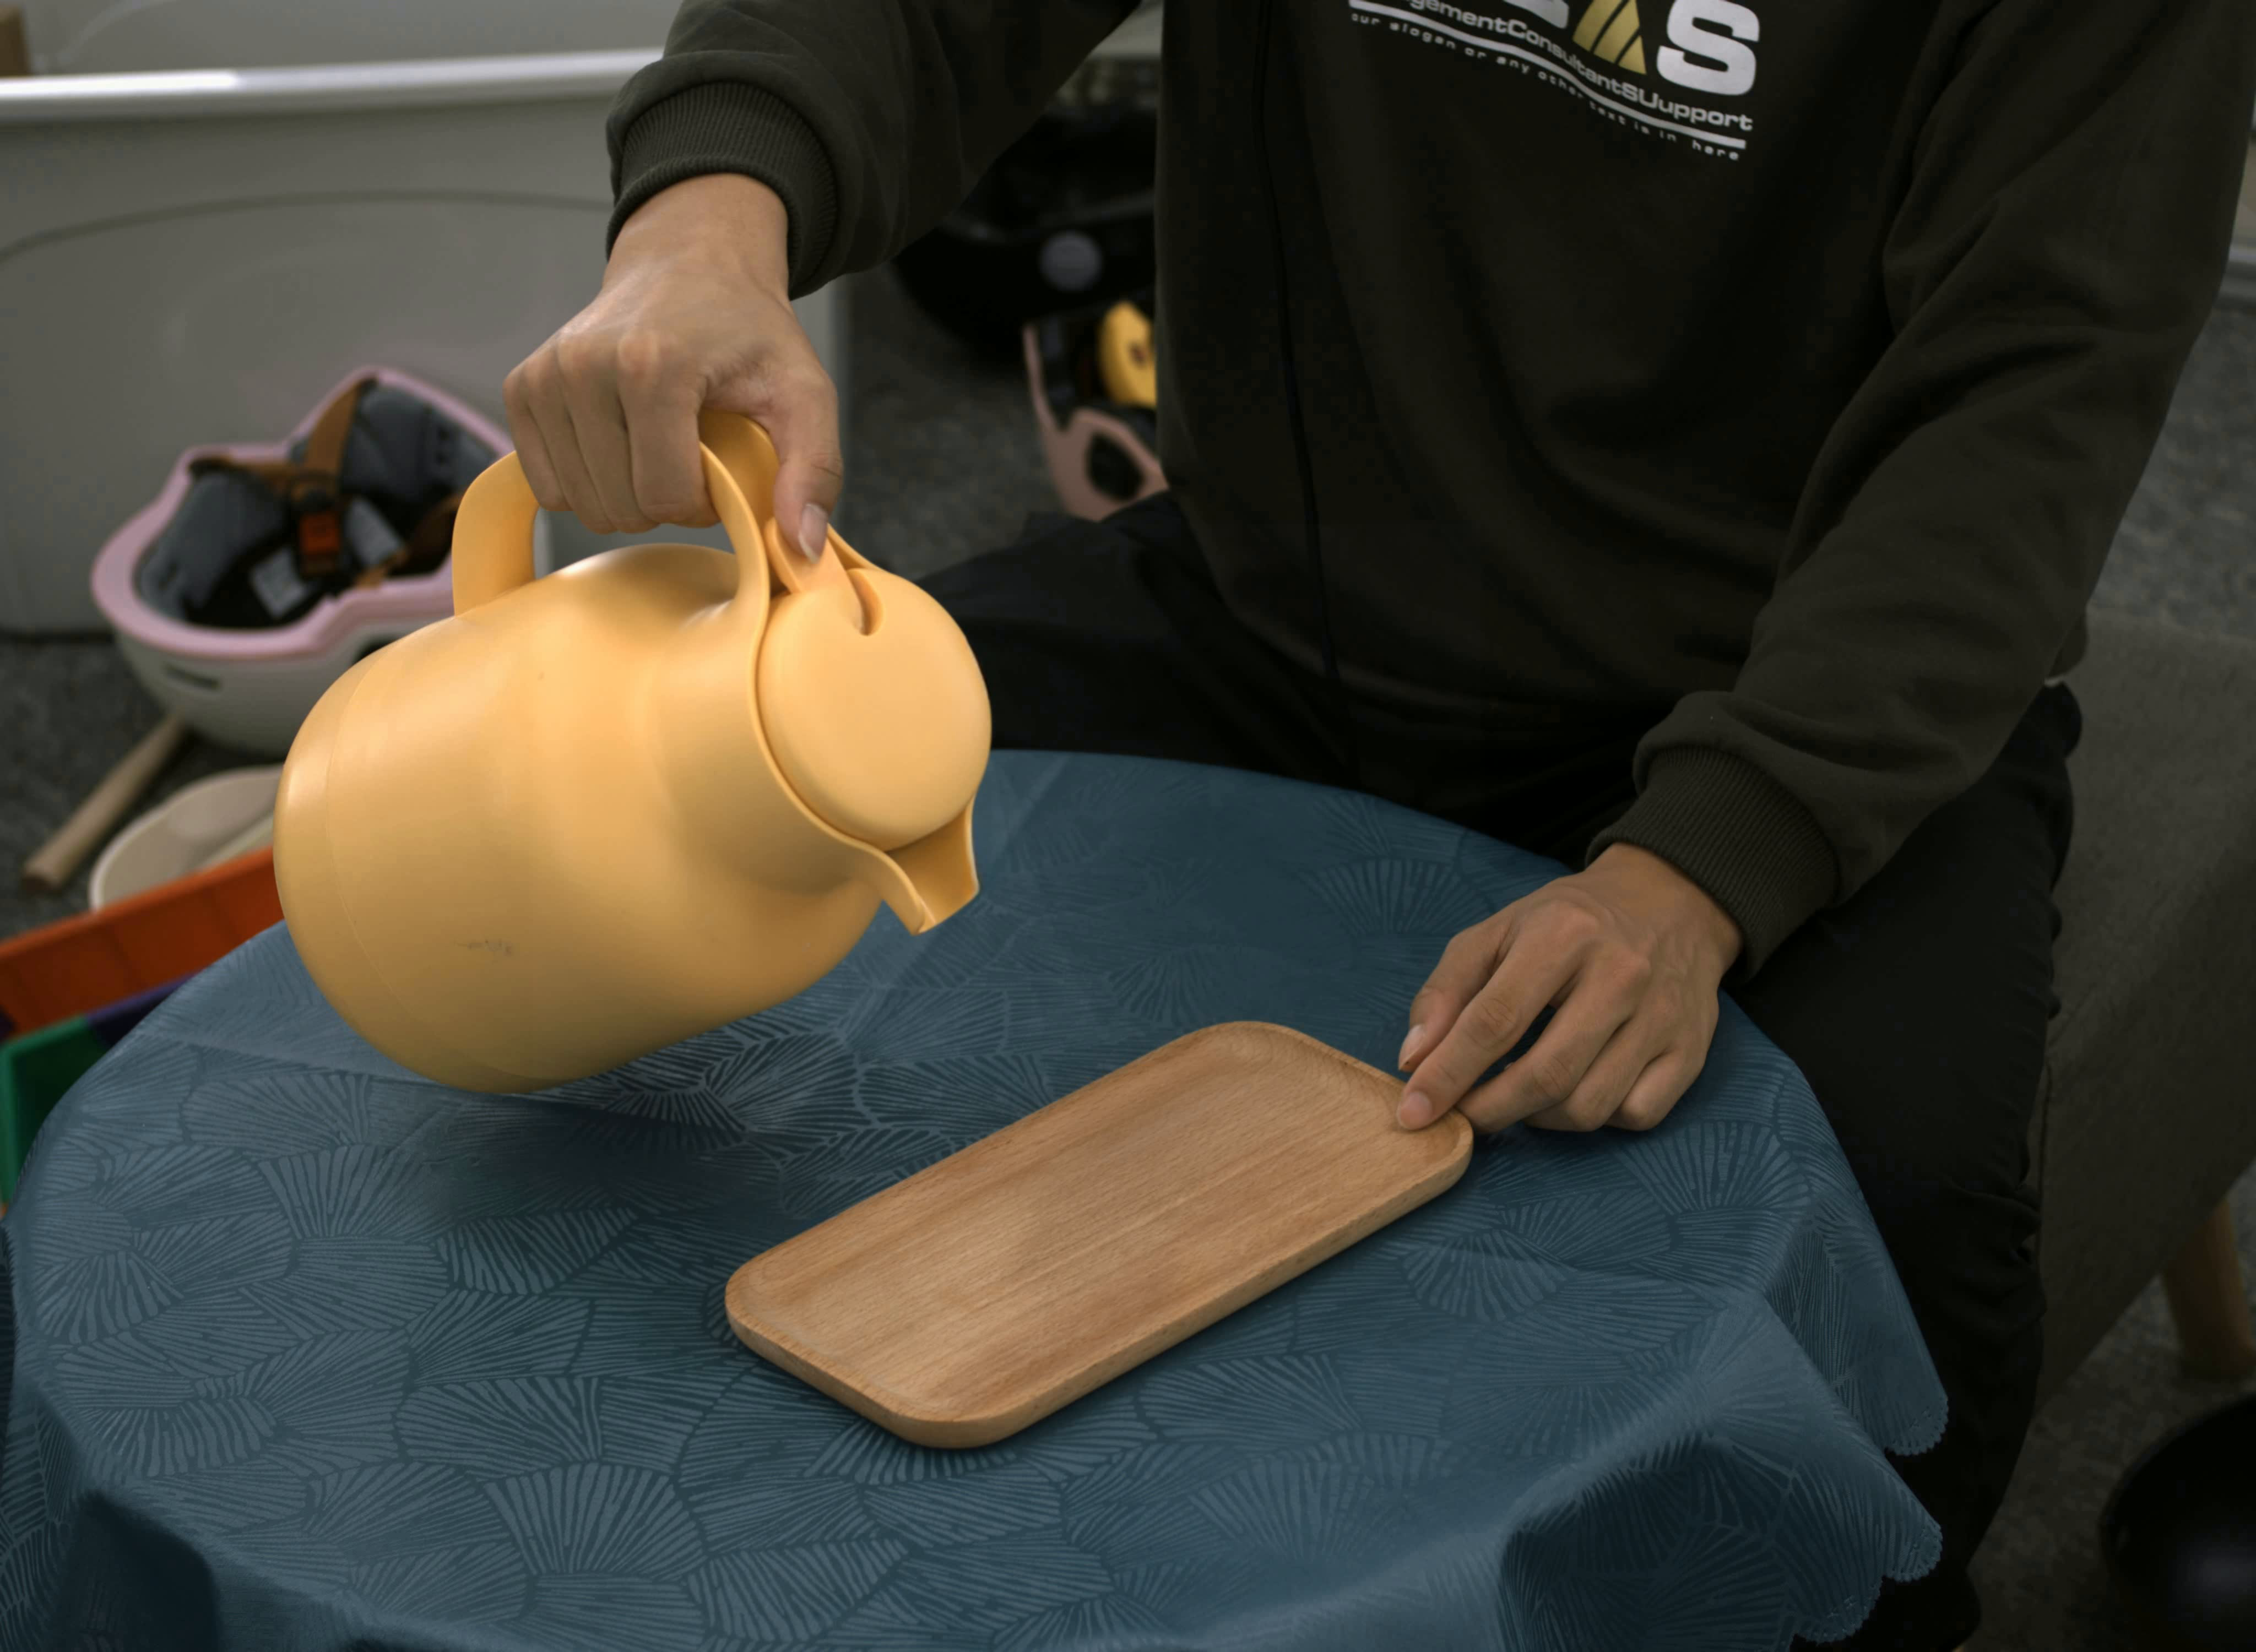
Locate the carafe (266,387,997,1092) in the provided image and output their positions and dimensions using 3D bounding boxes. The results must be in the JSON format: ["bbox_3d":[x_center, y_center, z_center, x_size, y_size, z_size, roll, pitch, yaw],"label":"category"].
[{"bbox_3d":[-0.163,-0.030,1.854,0.256,0.203,0.165,-19,2,42],"label":"carafe"}]

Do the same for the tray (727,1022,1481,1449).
[{"bbox_3d":[-0.006,0.131,1.829,0.253,0.022,0.130,-24,37,-37],"label":"tray"}]
